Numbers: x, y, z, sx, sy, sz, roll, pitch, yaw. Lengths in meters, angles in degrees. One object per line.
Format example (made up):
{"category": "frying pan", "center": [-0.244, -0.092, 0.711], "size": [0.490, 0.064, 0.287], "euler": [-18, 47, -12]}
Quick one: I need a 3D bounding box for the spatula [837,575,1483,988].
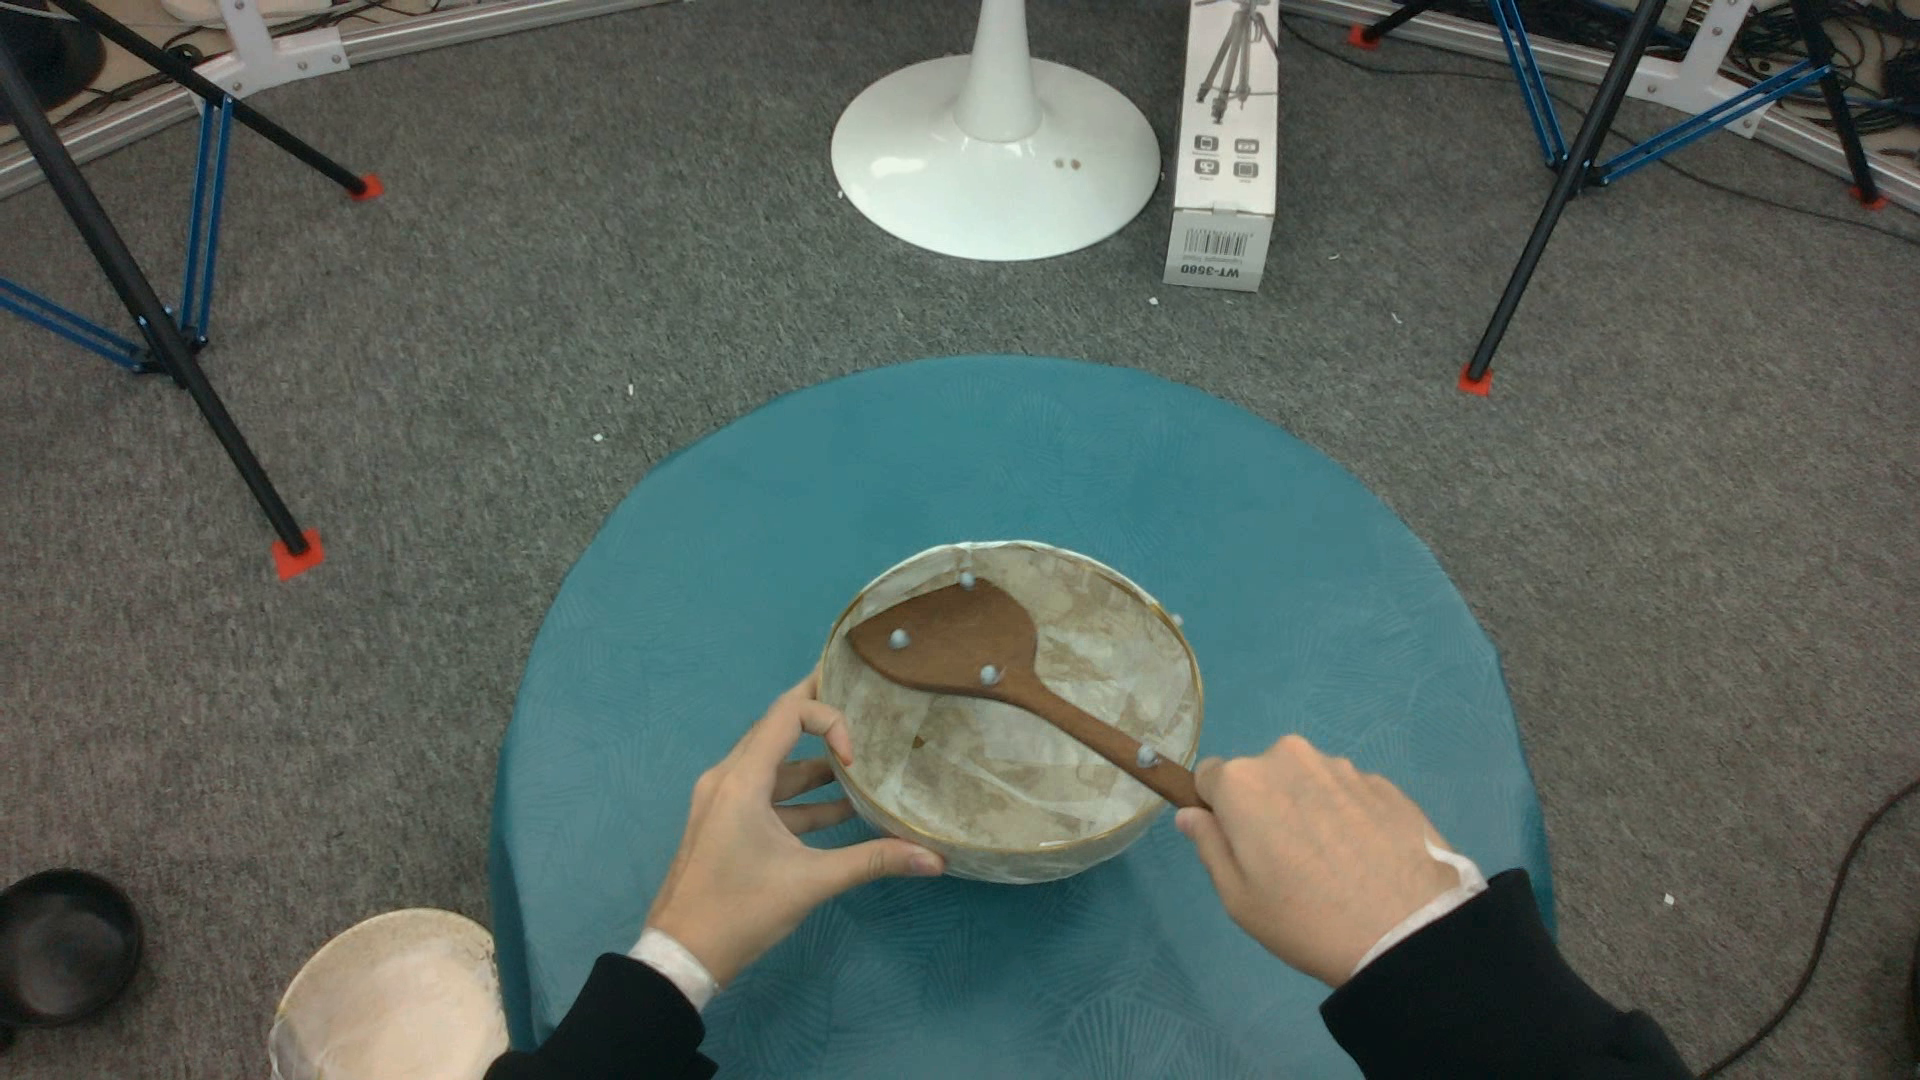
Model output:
{"category": "spatula", "center": [0.071, 0.092, 0.624], "size": [0.096, 0.016, 0.386], "euler": [-22, 28, -28]}

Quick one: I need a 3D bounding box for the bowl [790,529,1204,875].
{"category": "bowl", "center": [0.017, 0.099, 0.732], "size": [0.215, 0.094, 0.215], "euler": [3, 47, -3]}
